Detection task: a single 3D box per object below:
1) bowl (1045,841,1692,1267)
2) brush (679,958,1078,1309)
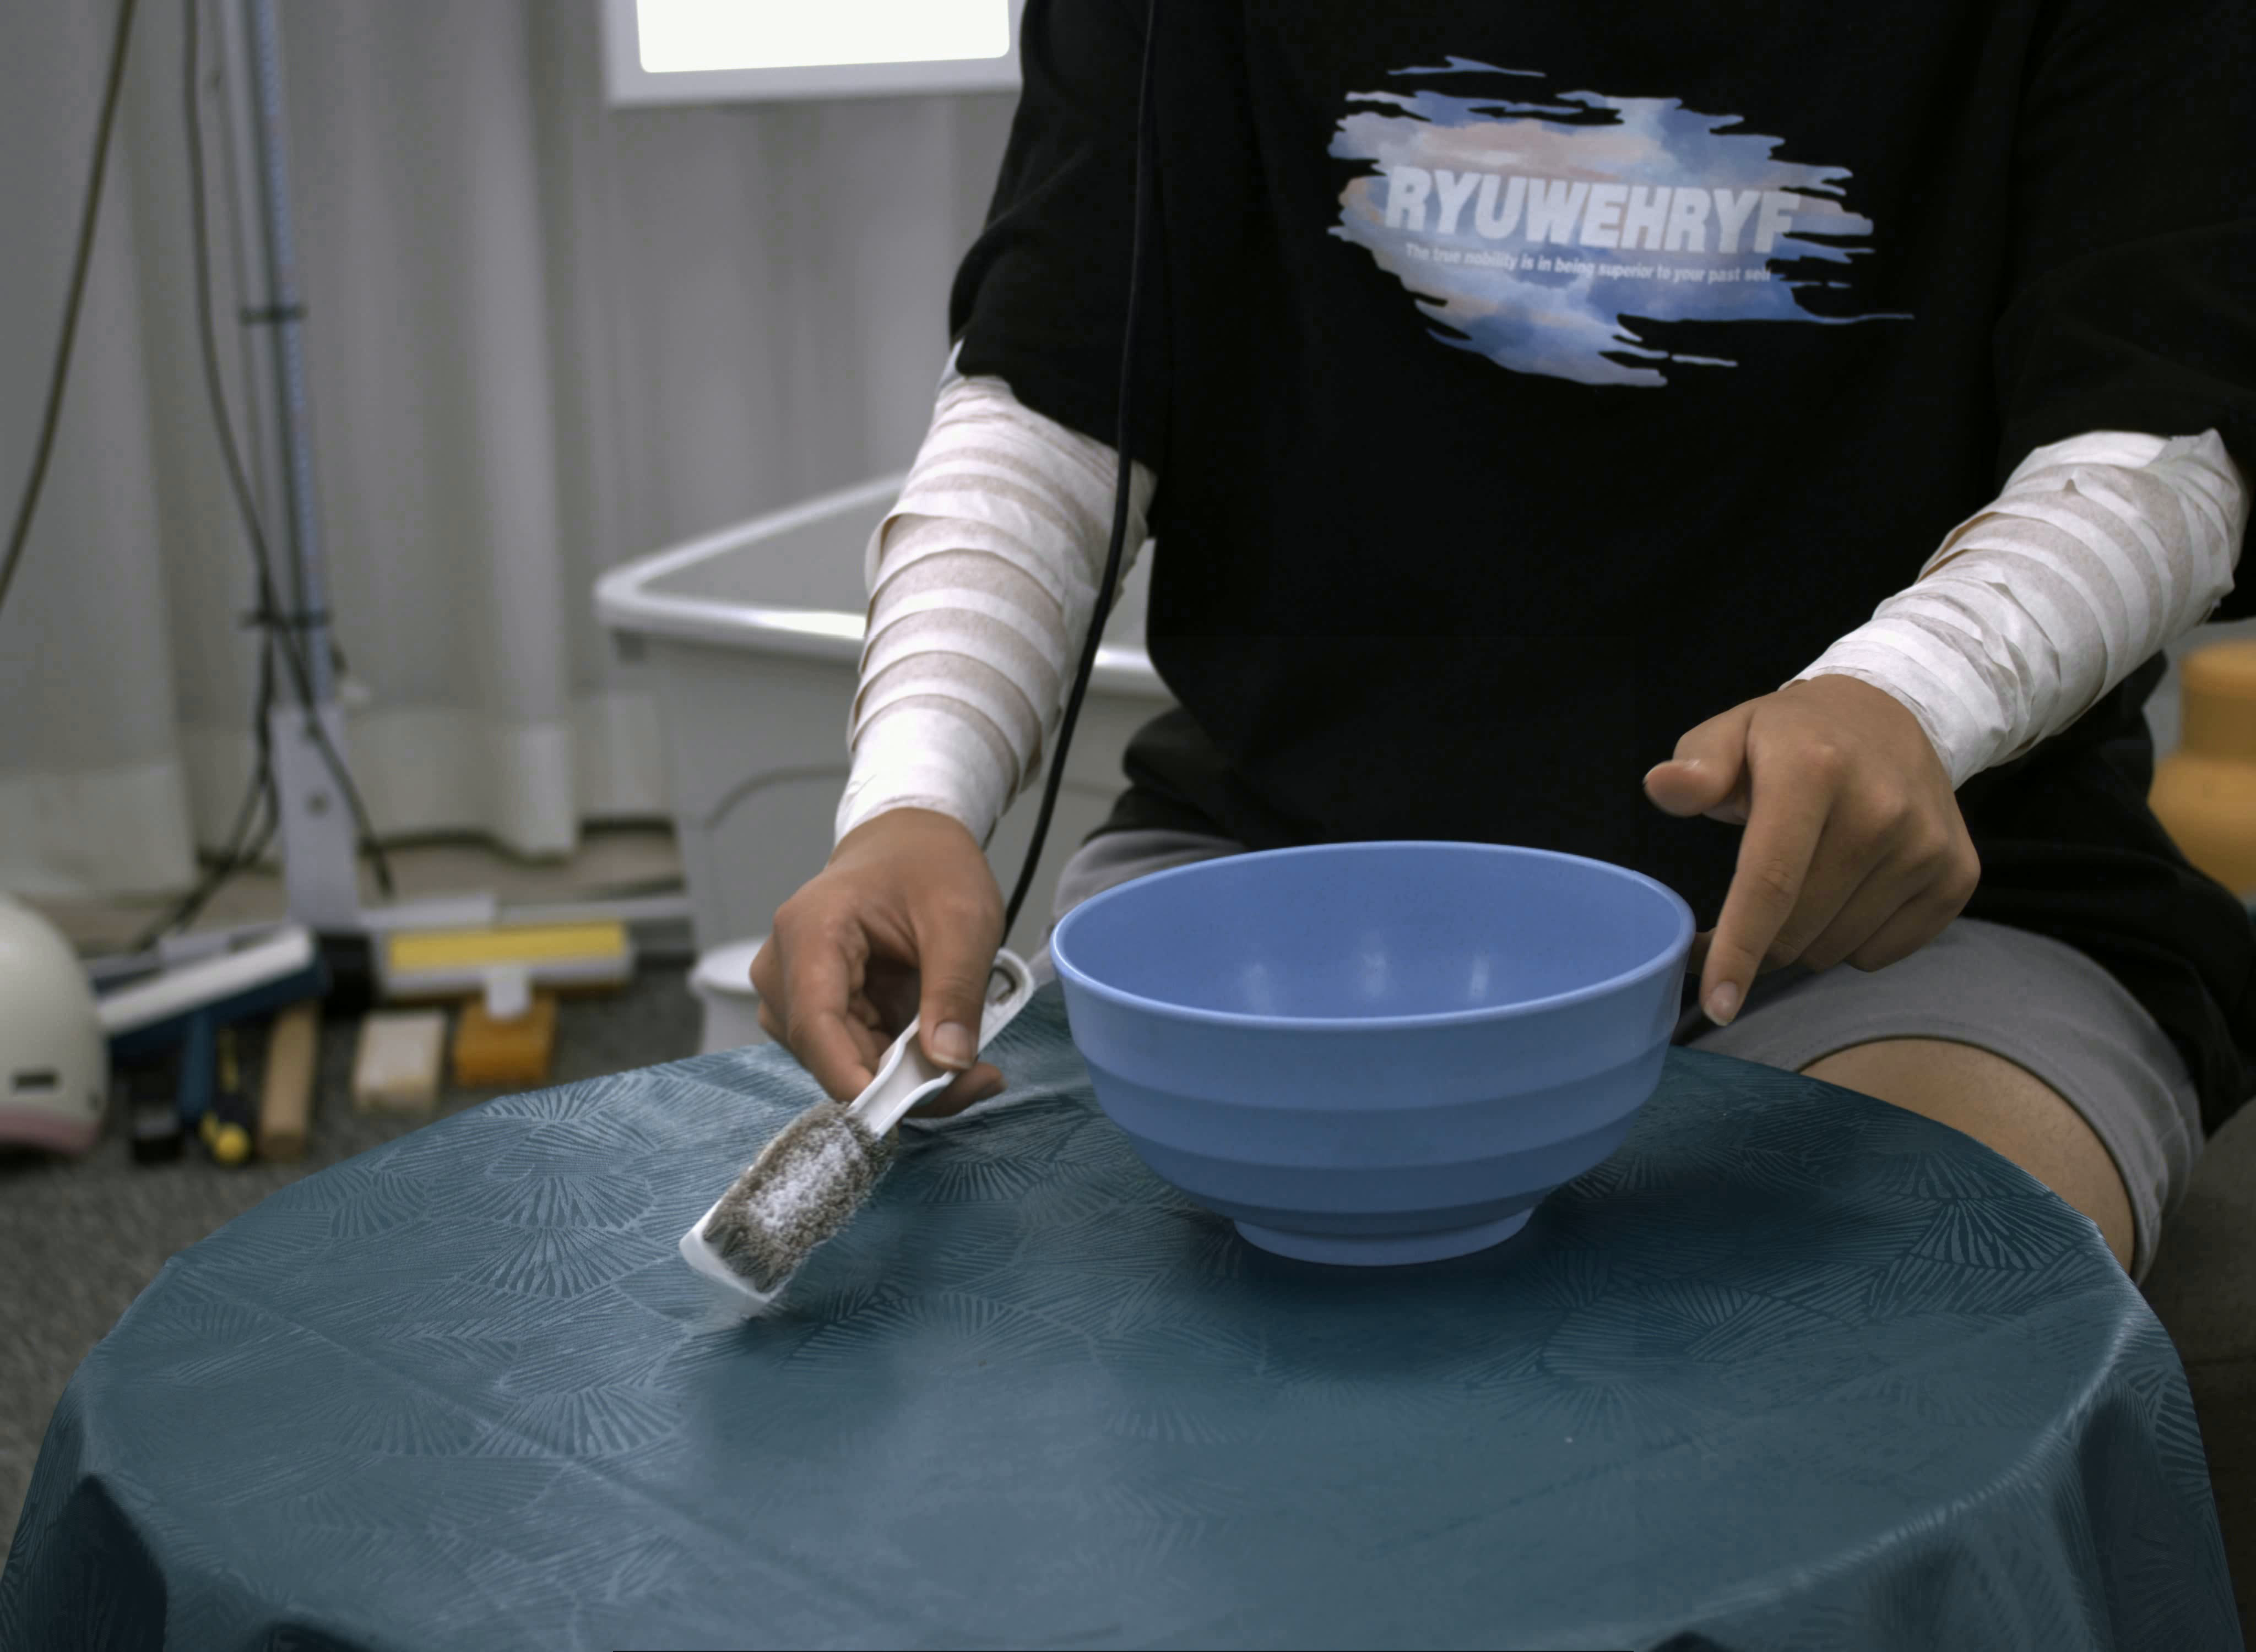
[{"bbox_3d":[0.075,0.074,1.665,0.196,0.095,0.198,-4,15,1],"label":"bowl"},{"bbox_3d":[-0.059,0.077,1.688,0.034,0.050,0.244,39,38,11],"label":"brush"}]
